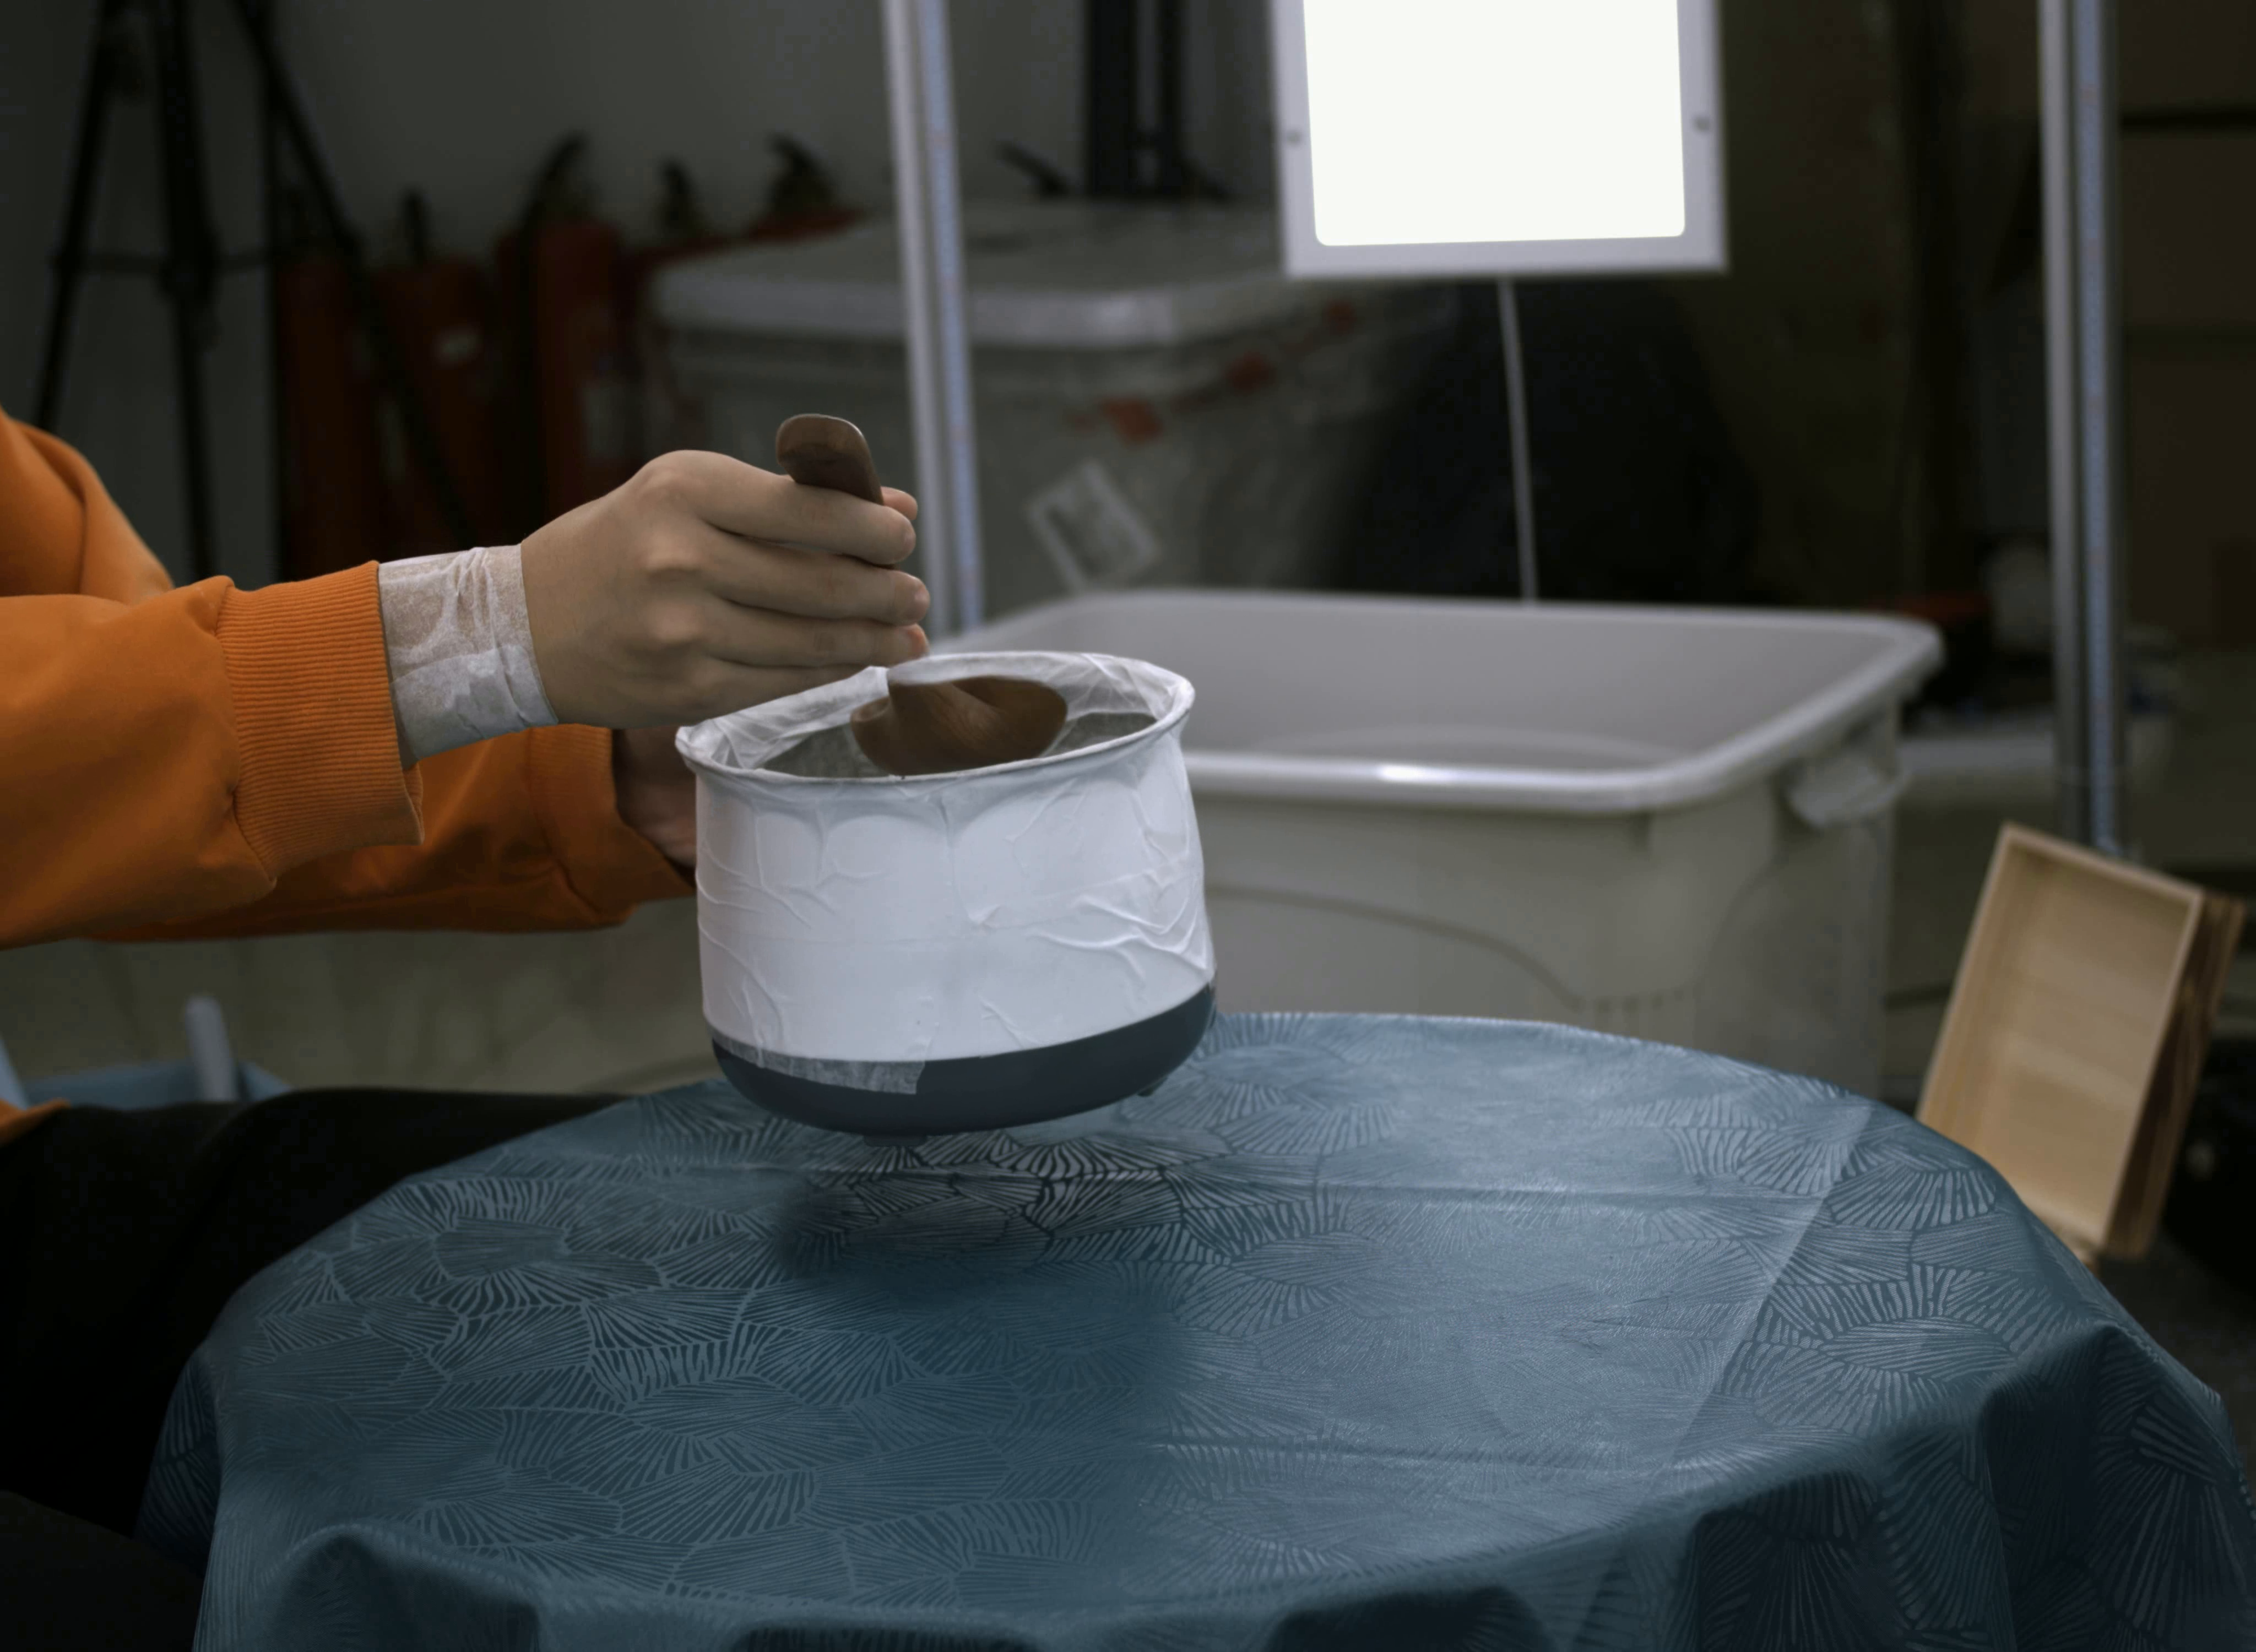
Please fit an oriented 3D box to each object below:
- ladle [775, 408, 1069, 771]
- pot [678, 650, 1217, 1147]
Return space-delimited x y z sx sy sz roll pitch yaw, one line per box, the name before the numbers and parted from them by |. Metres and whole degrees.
ladle | -0.077 -0.083 1.798 0.077 0.065 0.259 -11 -31 7
pot | -0.072 0.018 1.901 0.175 0.137 0.237 -11 16 -24
